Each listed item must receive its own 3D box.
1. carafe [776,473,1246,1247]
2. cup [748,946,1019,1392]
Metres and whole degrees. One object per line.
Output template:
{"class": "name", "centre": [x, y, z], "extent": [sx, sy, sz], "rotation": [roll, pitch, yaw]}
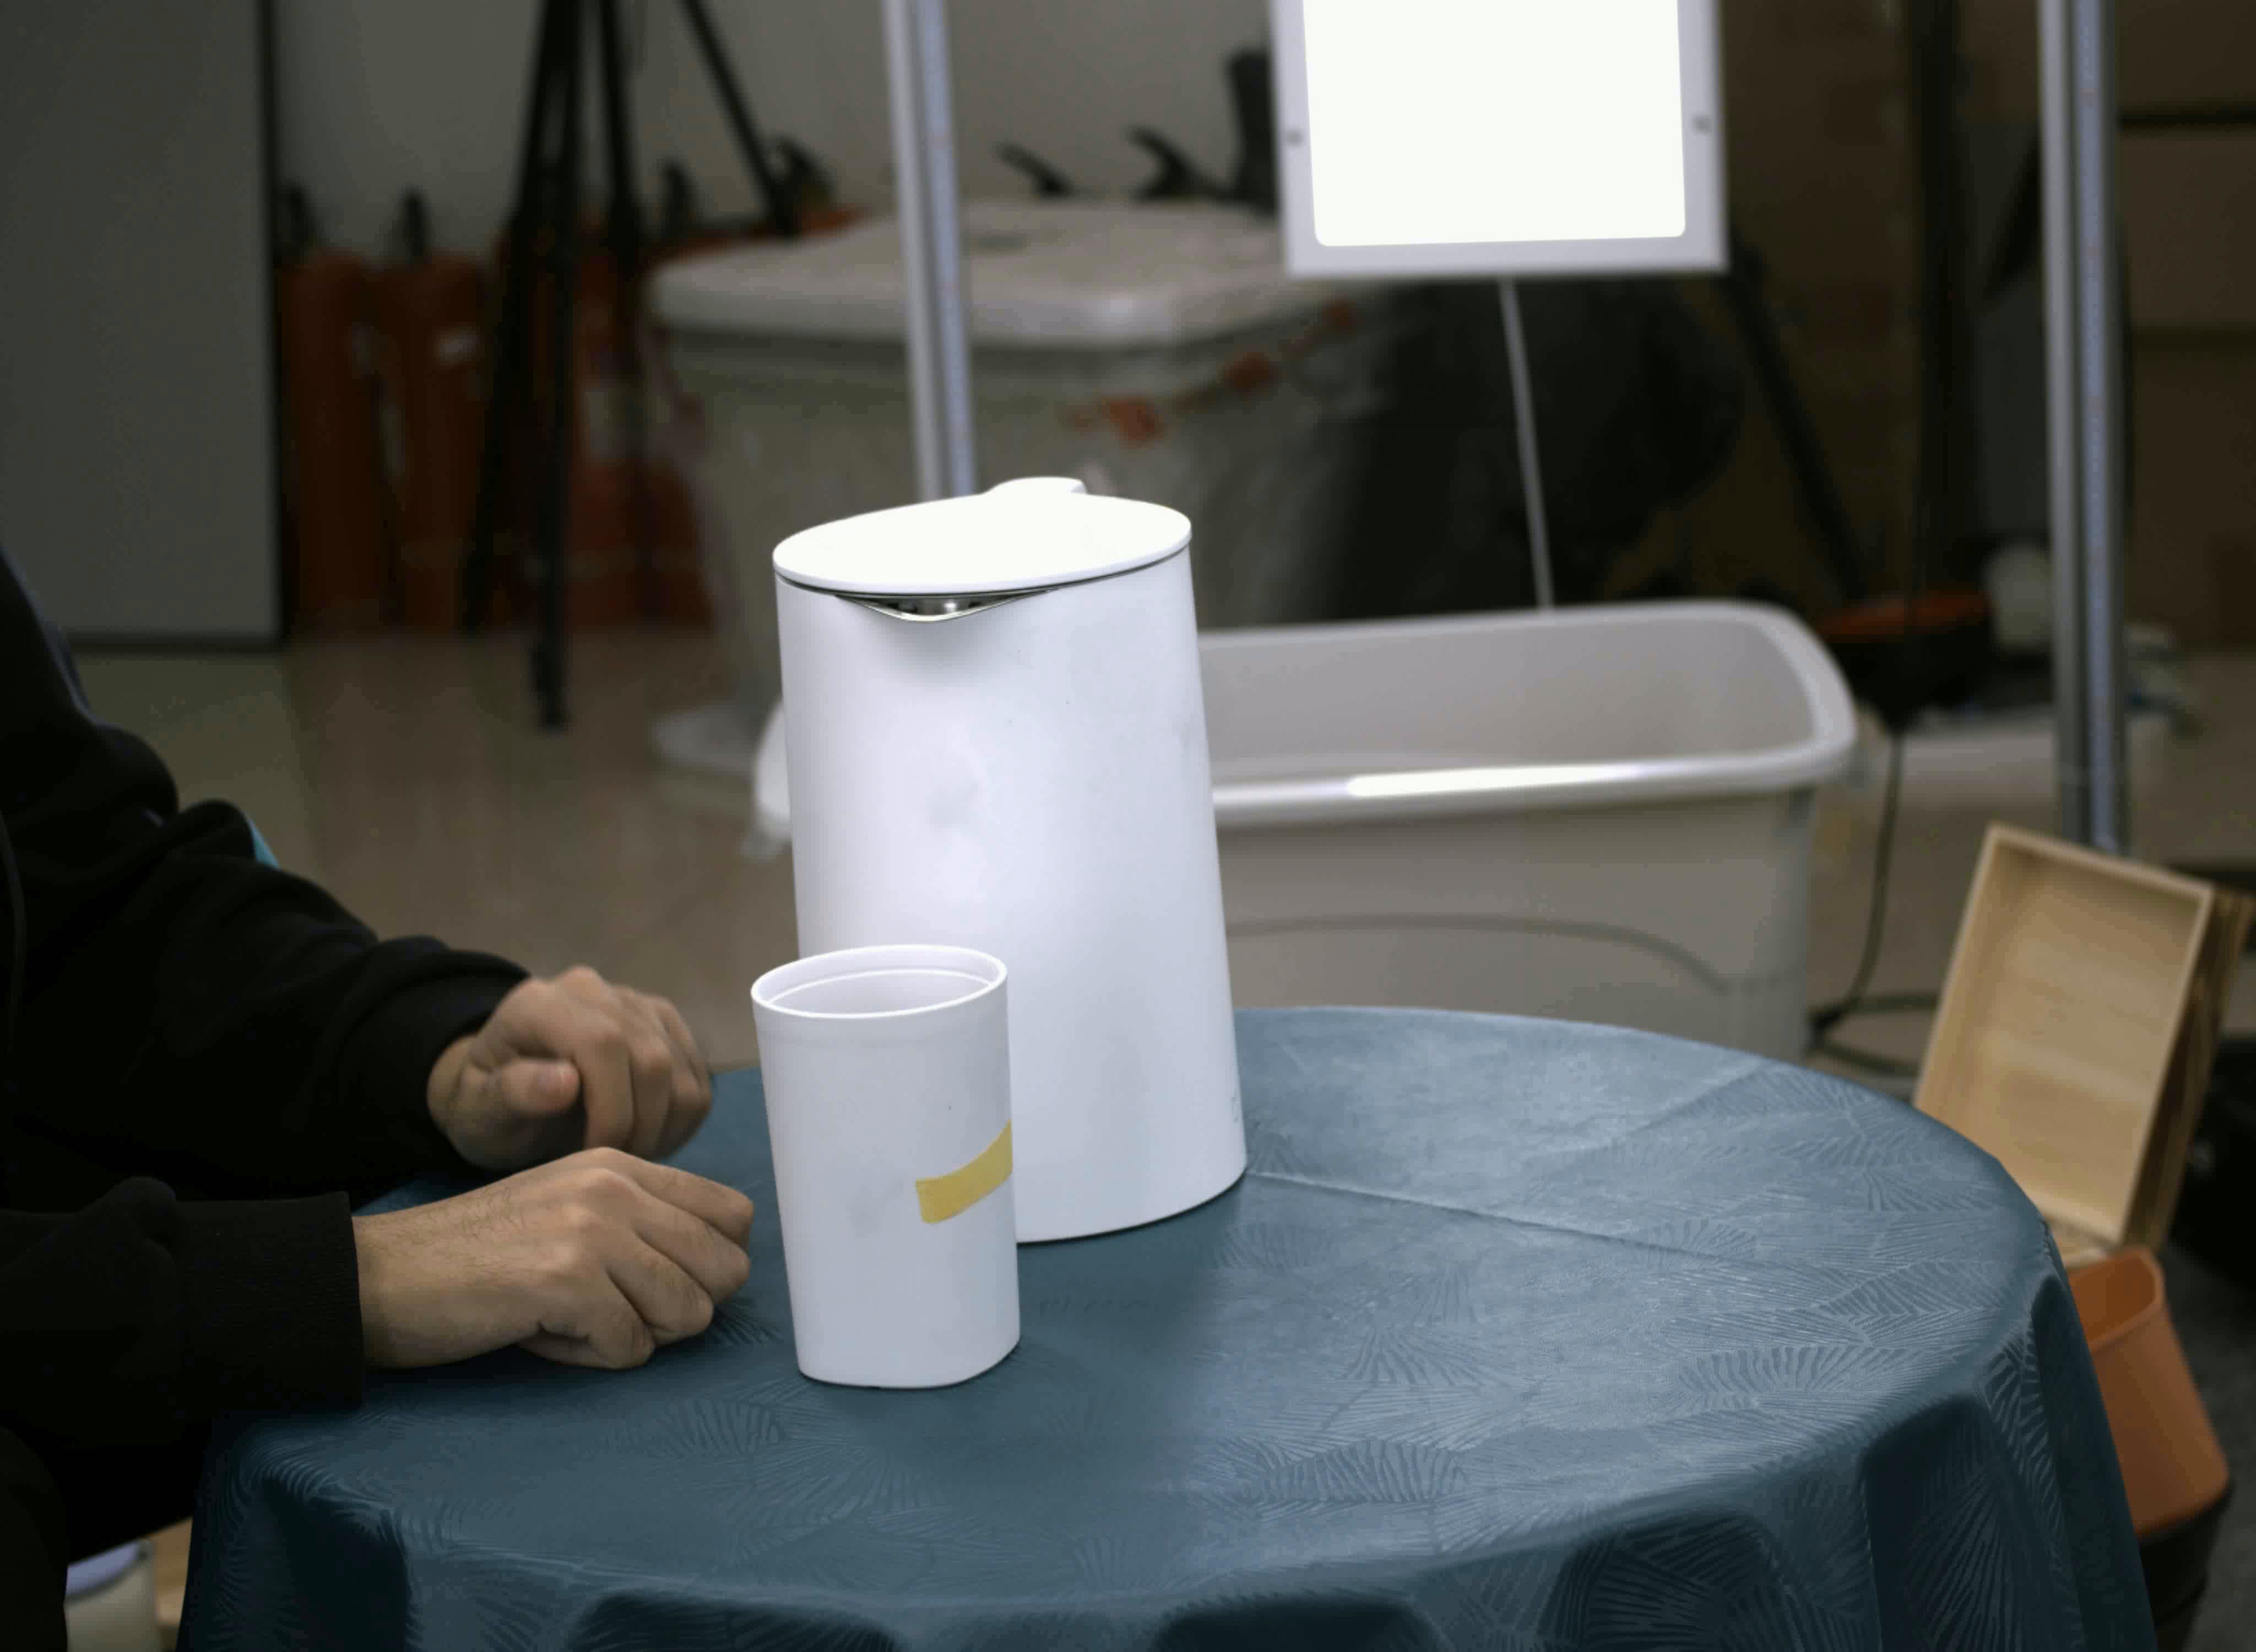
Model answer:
{"class": "carafe", "centre": [-0.035, 0.005, 1.914], "extent": [0.153, 0.241, 0.210], "rotation": [0, 15, 12]}
{"class": "cup", "centre": [-0.073, 0.108, 1.735], "extent": [0.081, 0.126, 0.081], "rotation": [-5, 14, 0]}
